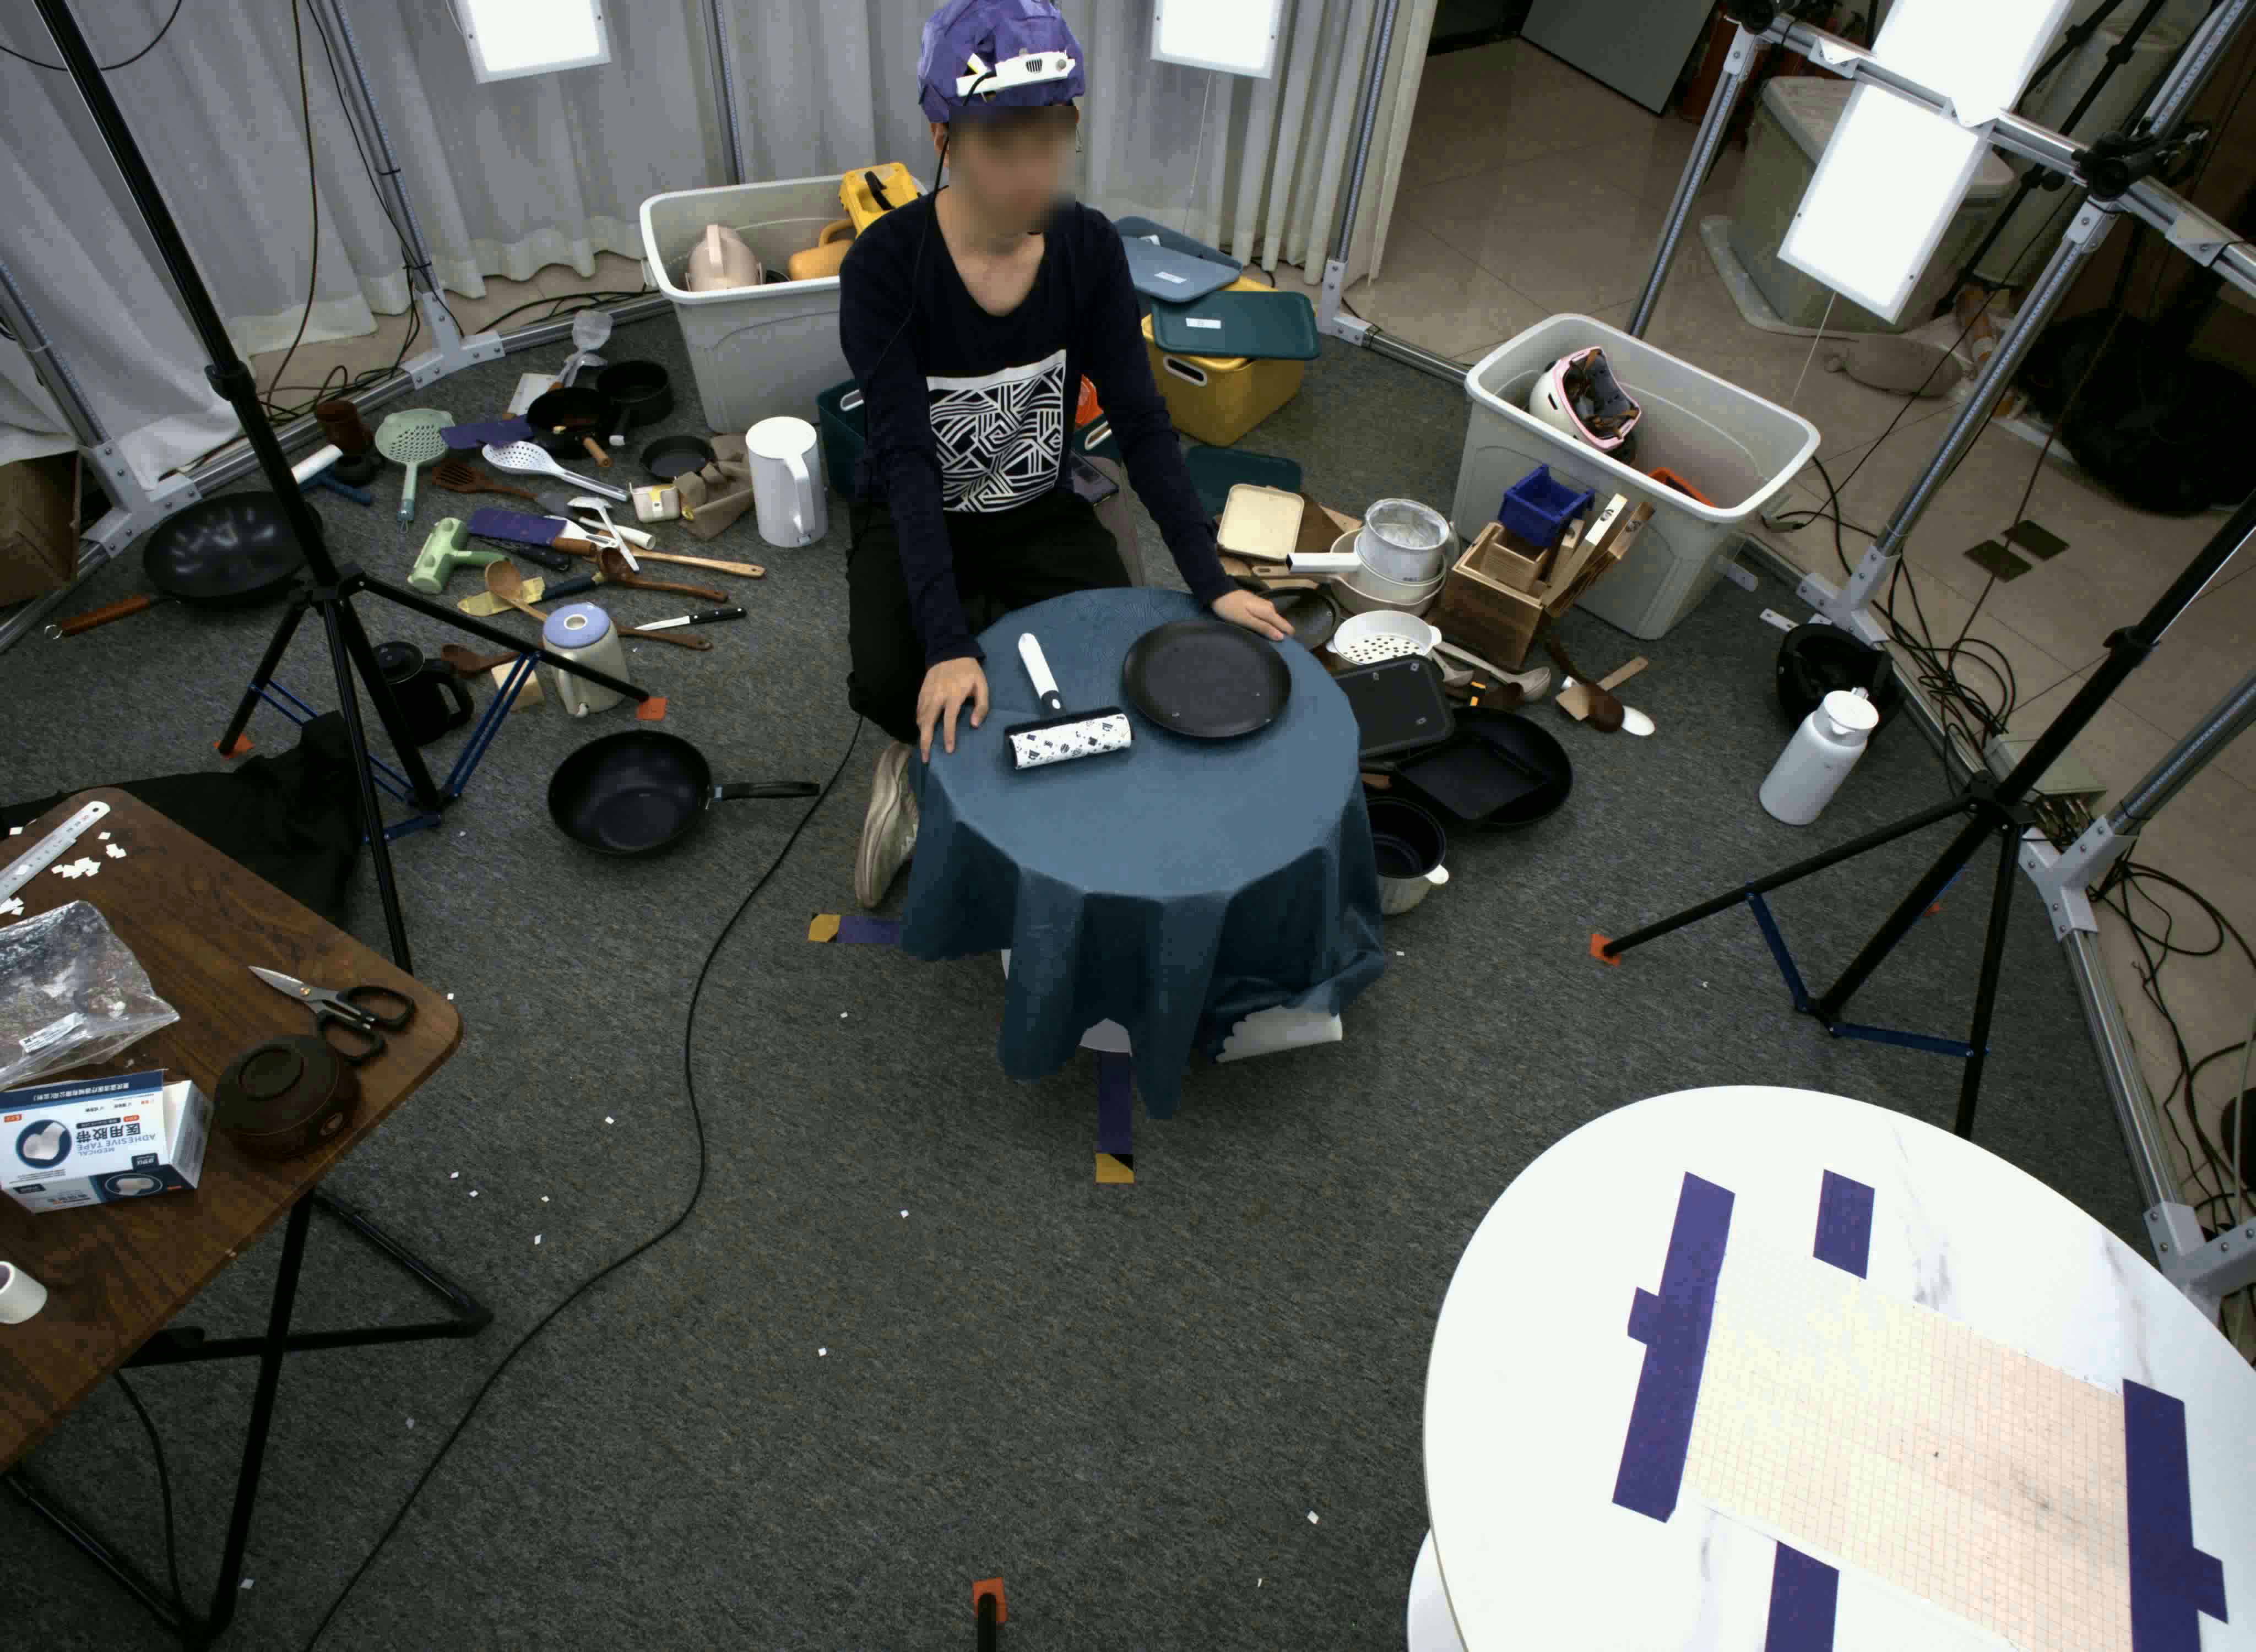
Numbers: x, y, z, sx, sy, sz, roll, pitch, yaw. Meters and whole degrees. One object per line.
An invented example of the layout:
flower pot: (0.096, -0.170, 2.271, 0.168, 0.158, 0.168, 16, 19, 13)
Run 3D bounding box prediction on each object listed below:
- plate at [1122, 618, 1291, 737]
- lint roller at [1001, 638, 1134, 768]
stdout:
plate: (0.112, -0.211, 1.843, 0.244, 0.023, 0.250, 2, 49, -2)
lint roller: (-0.112, -0.188, 1.796, 0.176, 0.049, 0.253, -13, 49, -14)
